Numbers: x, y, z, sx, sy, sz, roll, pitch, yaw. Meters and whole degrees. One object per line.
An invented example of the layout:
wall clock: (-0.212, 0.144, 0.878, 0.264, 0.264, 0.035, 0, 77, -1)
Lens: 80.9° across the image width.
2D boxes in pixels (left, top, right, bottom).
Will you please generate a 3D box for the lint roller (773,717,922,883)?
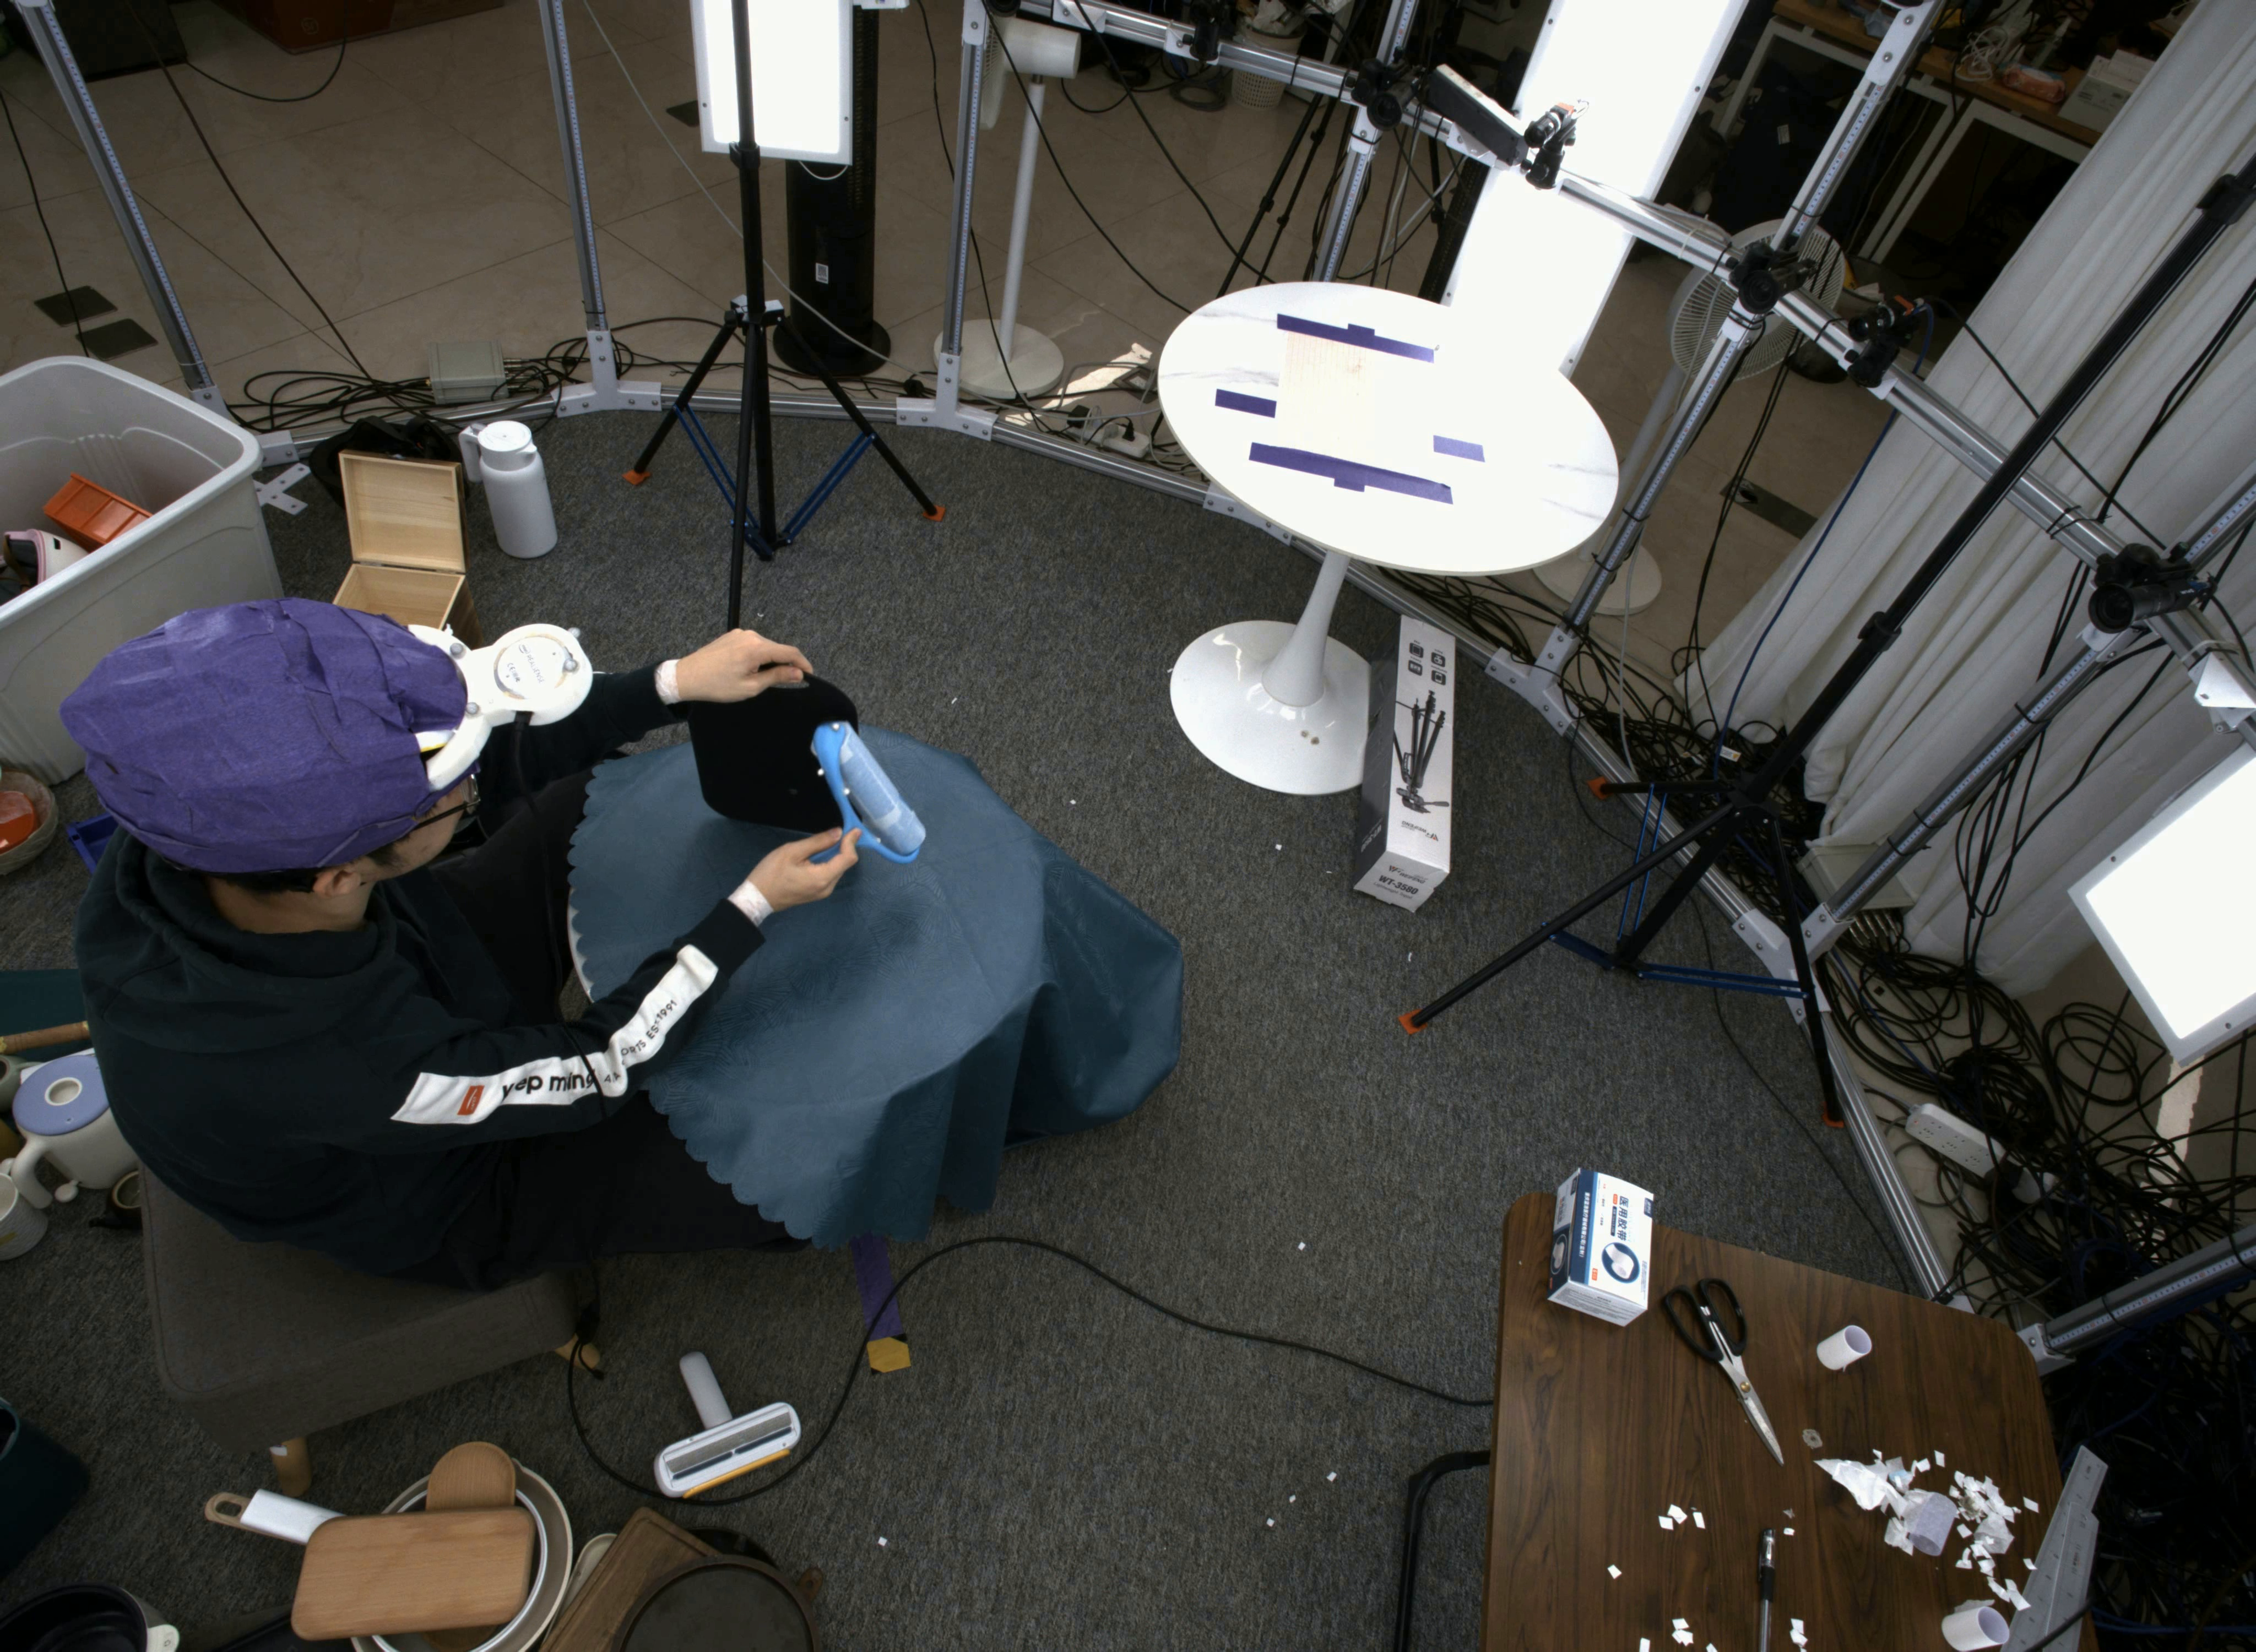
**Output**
lint roller: (-0.345, 0.001, 1.543, 0.065, 0.238, 0.180, 19, 65, 33)

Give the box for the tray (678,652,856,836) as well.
tray: (-0.434, -0.096, 1.585, 0.210, 0.333, 0.009, 8, 53, -3)
